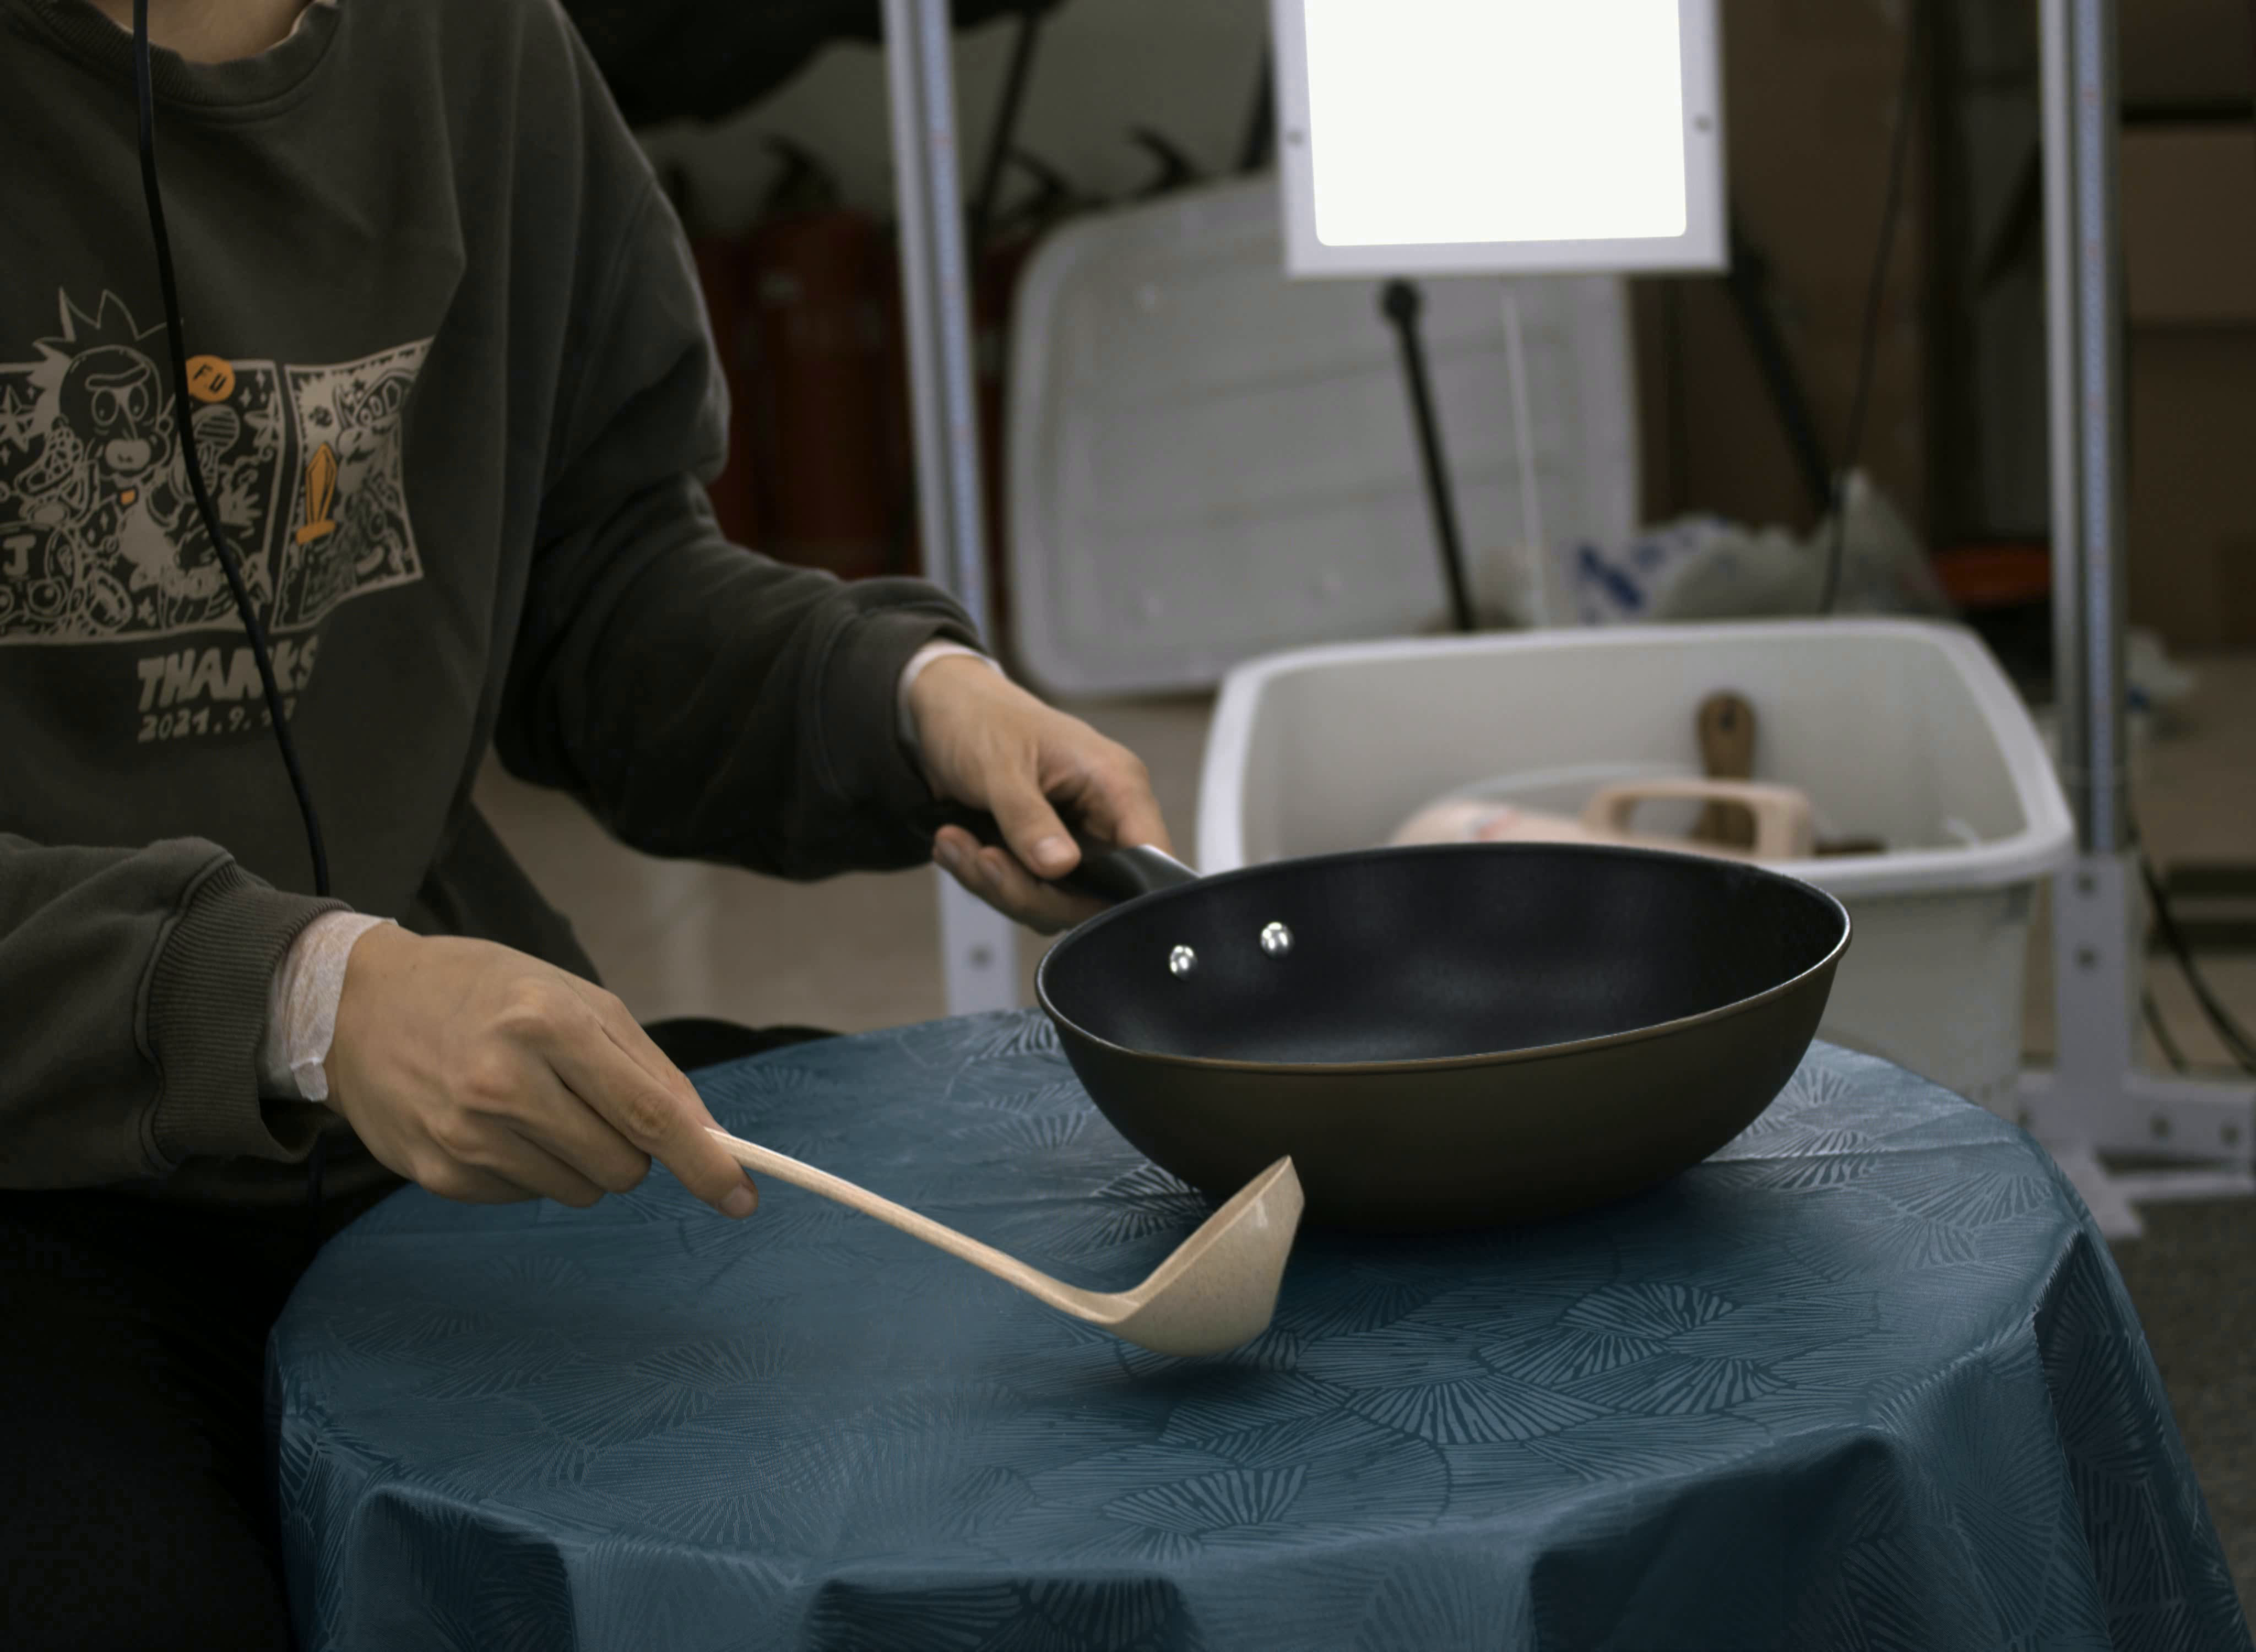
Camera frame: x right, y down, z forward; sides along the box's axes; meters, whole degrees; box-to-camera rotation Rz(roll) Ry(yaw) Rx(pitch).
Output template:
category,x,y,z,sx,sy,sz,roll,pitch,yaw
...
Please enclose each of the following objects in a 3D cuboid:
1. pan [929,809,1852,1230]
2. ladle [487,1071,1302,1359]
category,x,y,z,sx,sy,sz,roll,pitch,yaw
pan,0.057,0.064,1.956,0.281,0.087,0.472,-14,15,-32
ladle,-0.069,0.093,1.702,0.254,0.073,0.071,21,15,4
